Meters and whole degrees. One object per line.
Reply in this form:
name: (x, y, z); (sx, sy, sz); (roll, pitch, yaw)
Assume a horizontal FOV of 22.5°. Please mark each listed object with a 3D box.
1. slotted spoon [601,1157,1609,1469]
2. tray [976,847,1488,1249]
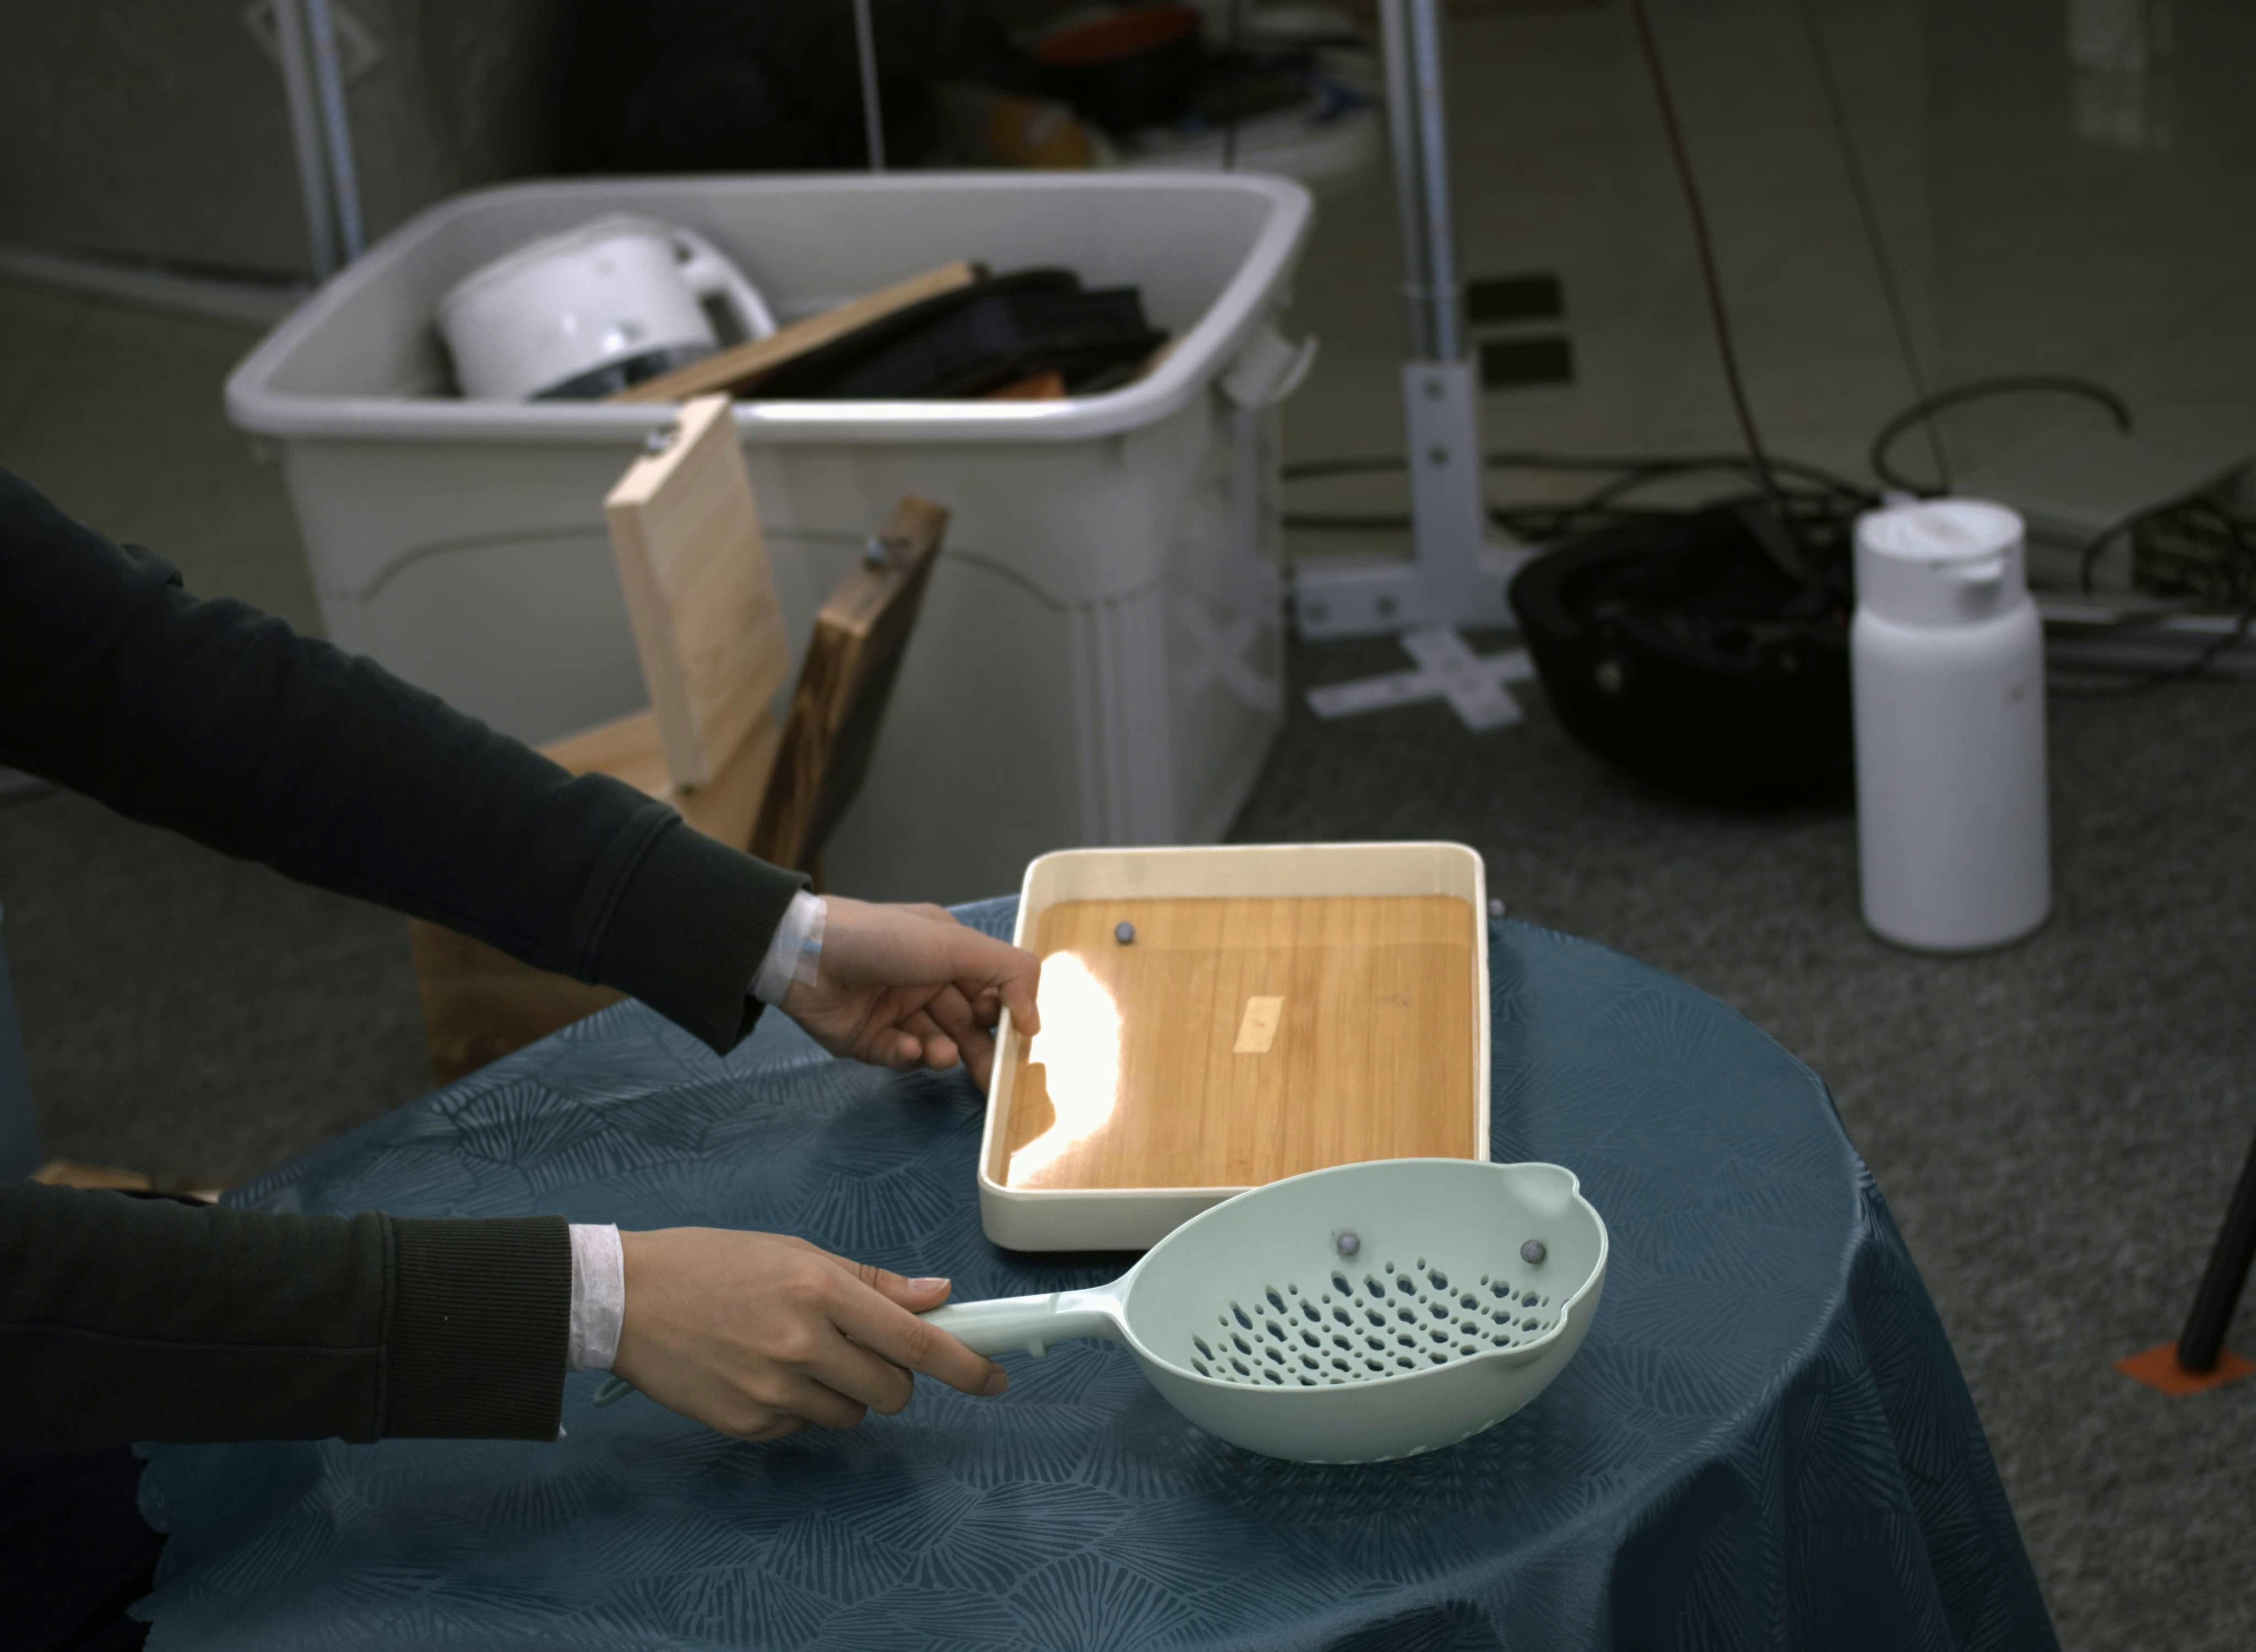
slotted spoon: (-0.012, 0.177, 1.985); (0.358, 0.076, 0.167); (1, 23, 7)
tray: (0.045, 0.083, 2.218); (0.191, 0.028, 0.296); (-1, 25, 4)
